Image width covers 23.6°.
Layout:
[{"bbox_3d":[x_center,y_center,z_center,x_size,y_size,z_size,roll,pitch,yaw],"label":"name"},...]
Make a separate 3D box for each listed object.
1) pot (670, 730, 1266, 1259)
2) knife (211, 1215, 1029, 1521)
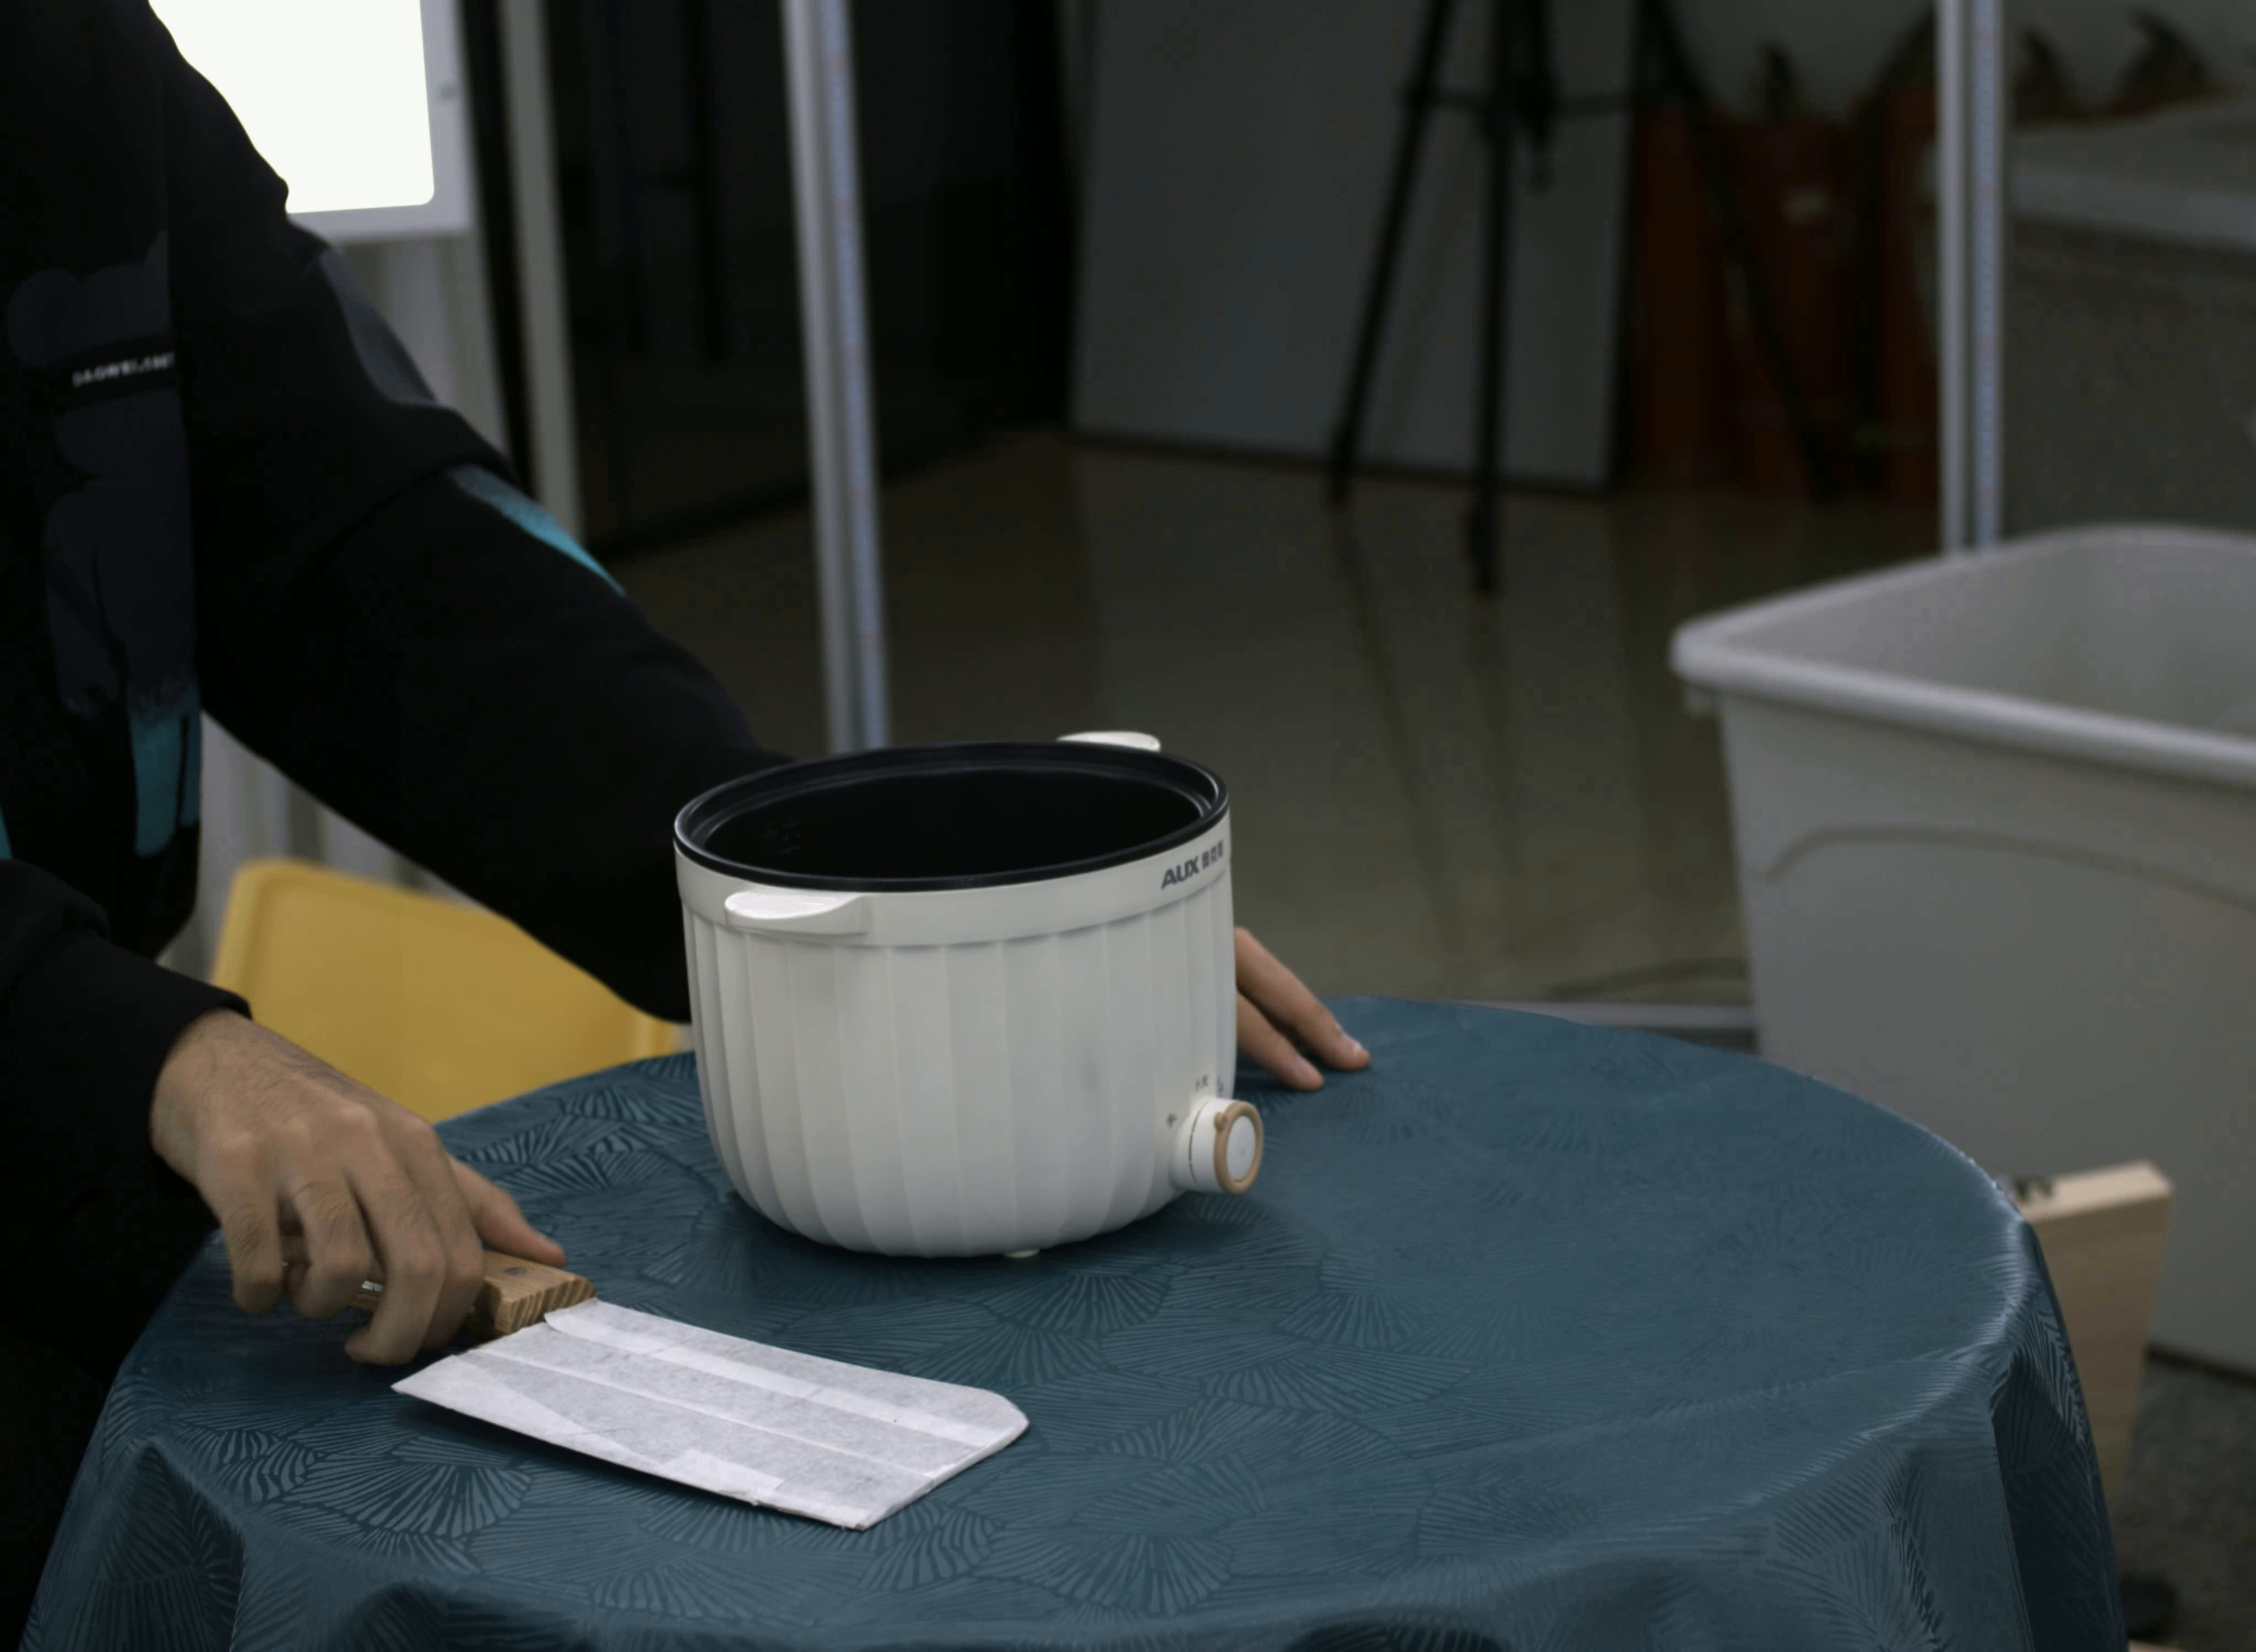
[{"bbox_3d":[-0.048,0.057,1.752,0.191,0.144,0.237,0,15,30],"label":"pot"},{"bbox_3d":[-0.163,0.160,1.624,0.318,0.022,0.112,12,21,41],"label":"knife"}]
